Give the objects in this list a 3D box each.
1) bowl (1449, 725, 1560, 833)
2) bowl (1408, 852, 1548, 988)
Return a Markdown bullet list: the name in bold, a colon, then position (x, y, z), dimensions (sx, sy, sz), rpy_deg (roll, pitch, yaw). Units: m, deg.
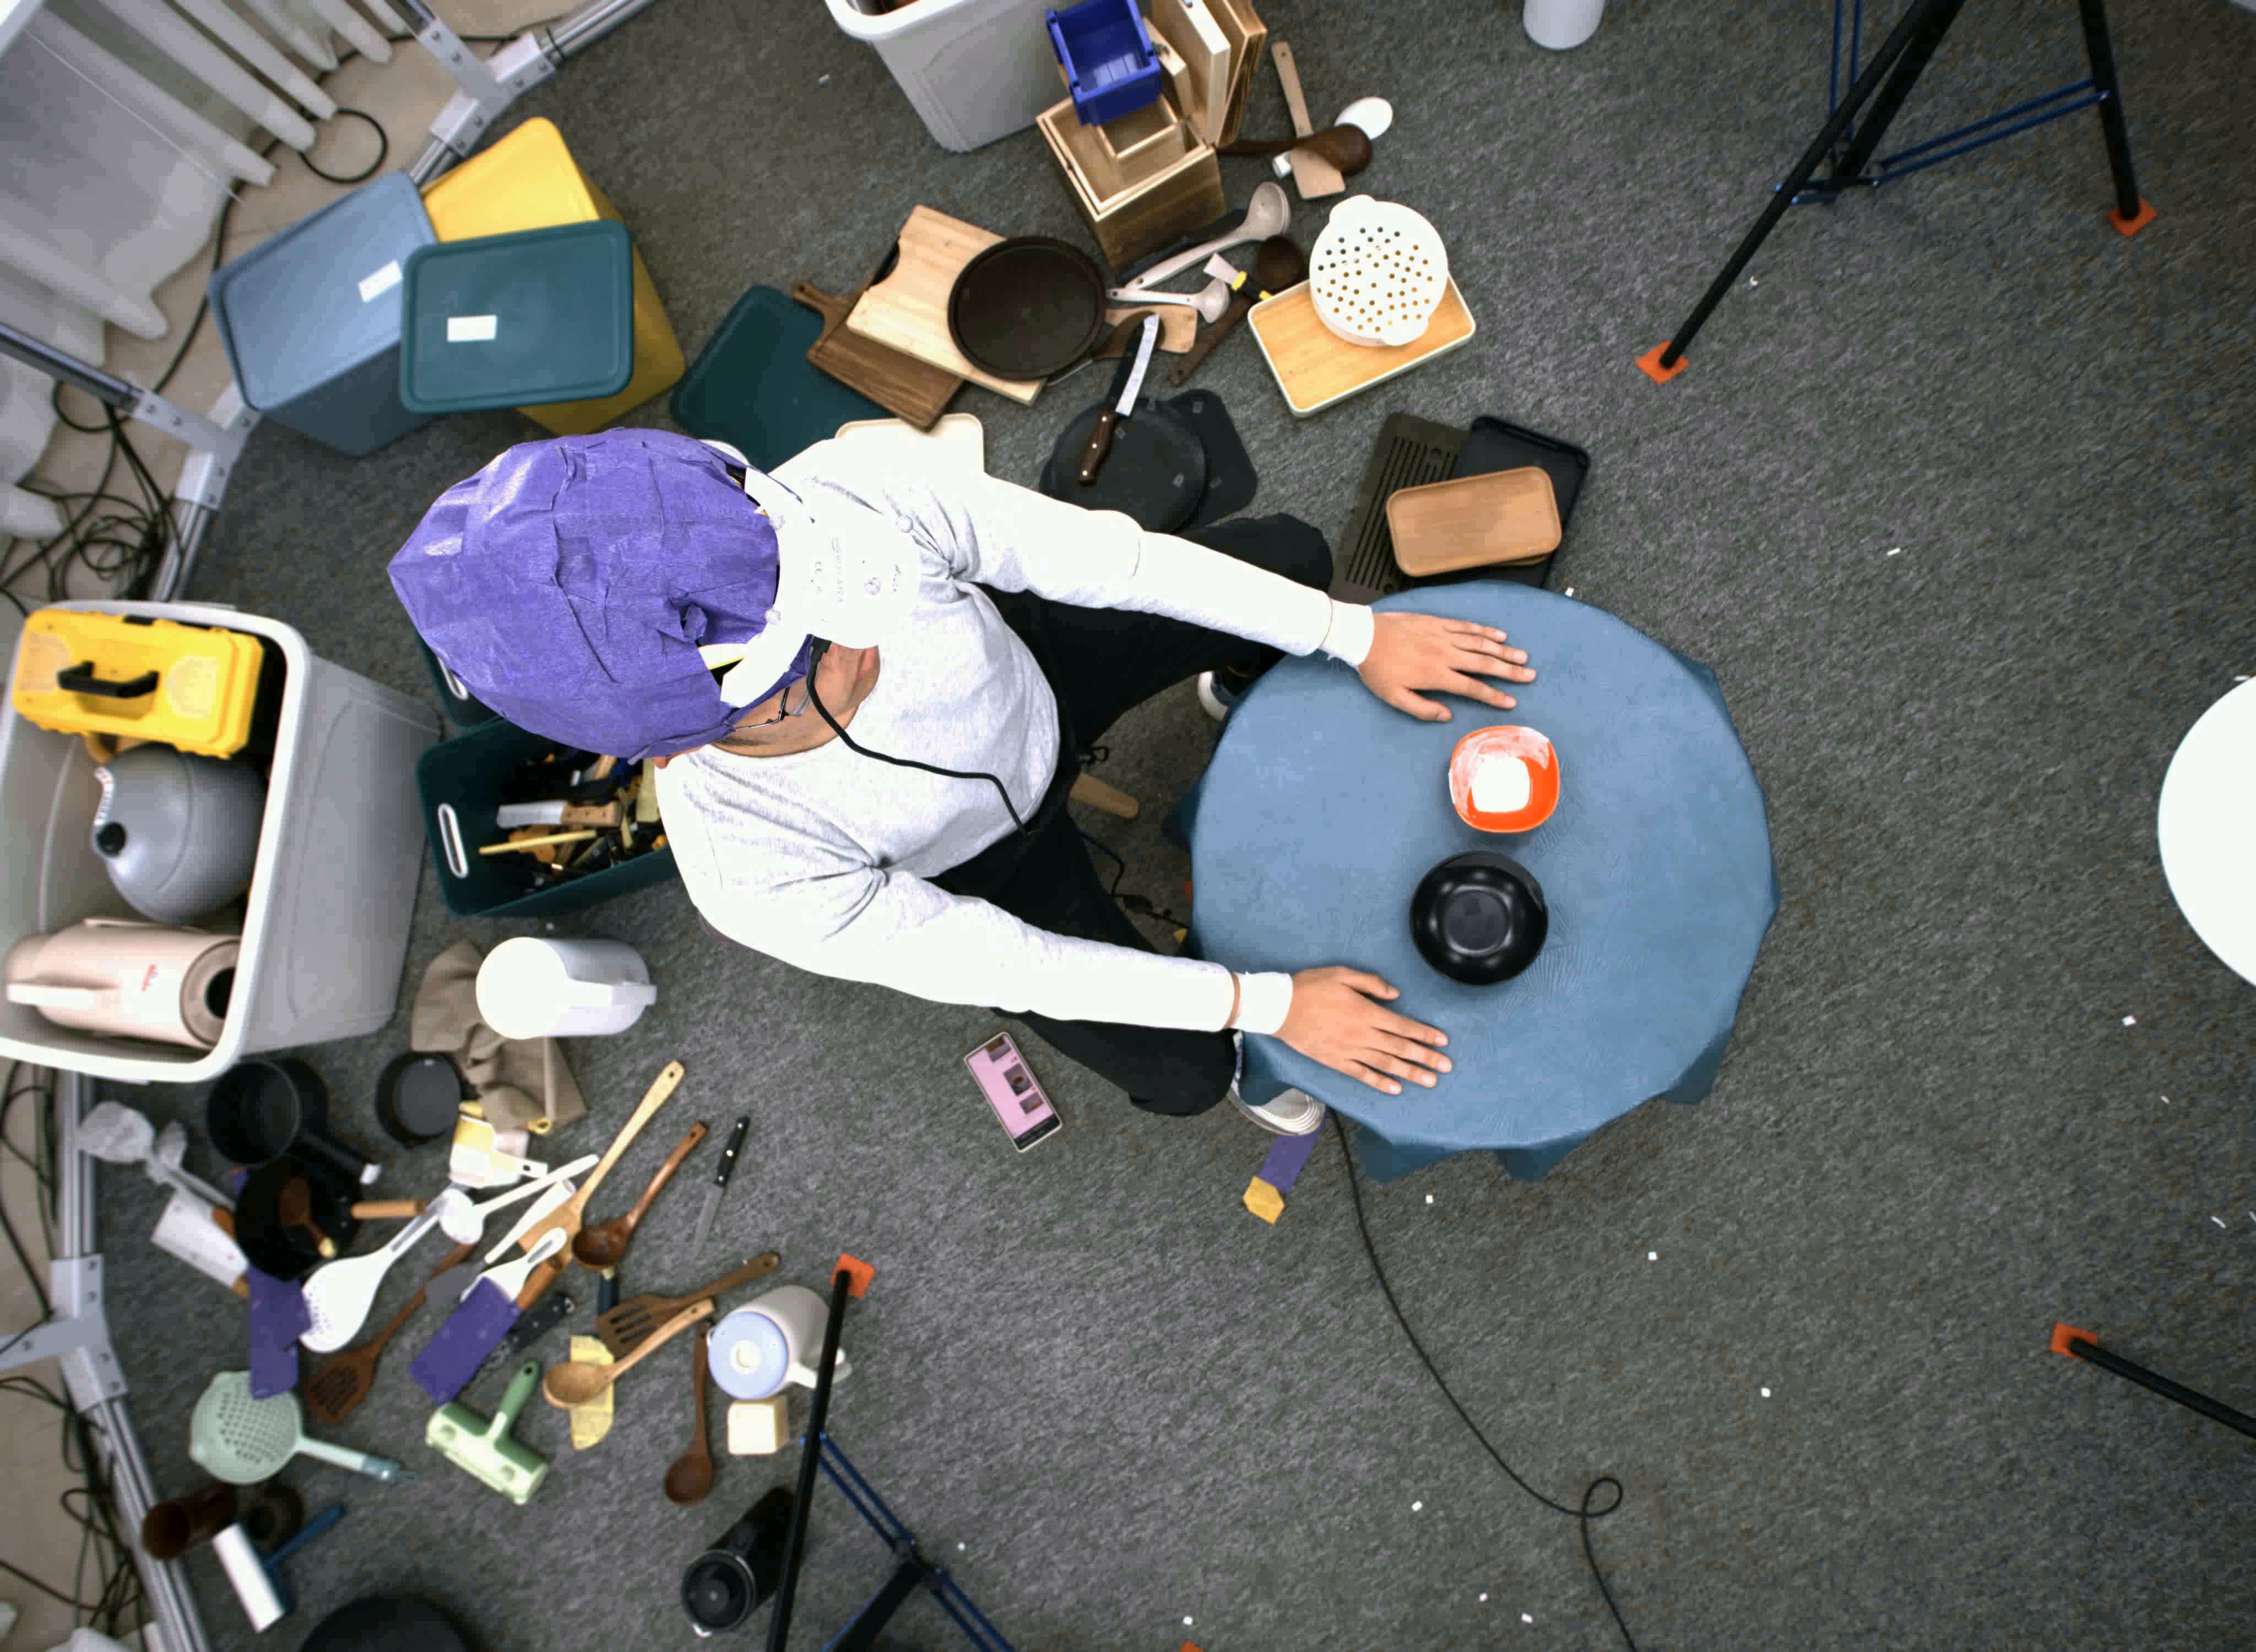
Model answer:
- **bowl**: position (0.386, -0.048, 1.418), dimensions (0.119, 0.051, 0.118), rpy_deg (-1, 88, 9)
- **bowl**: position (0.359, 0.096, 1.419), dimensions (0.140, 0.050, 0.139), rpy_deg (-1, 85, 13)
